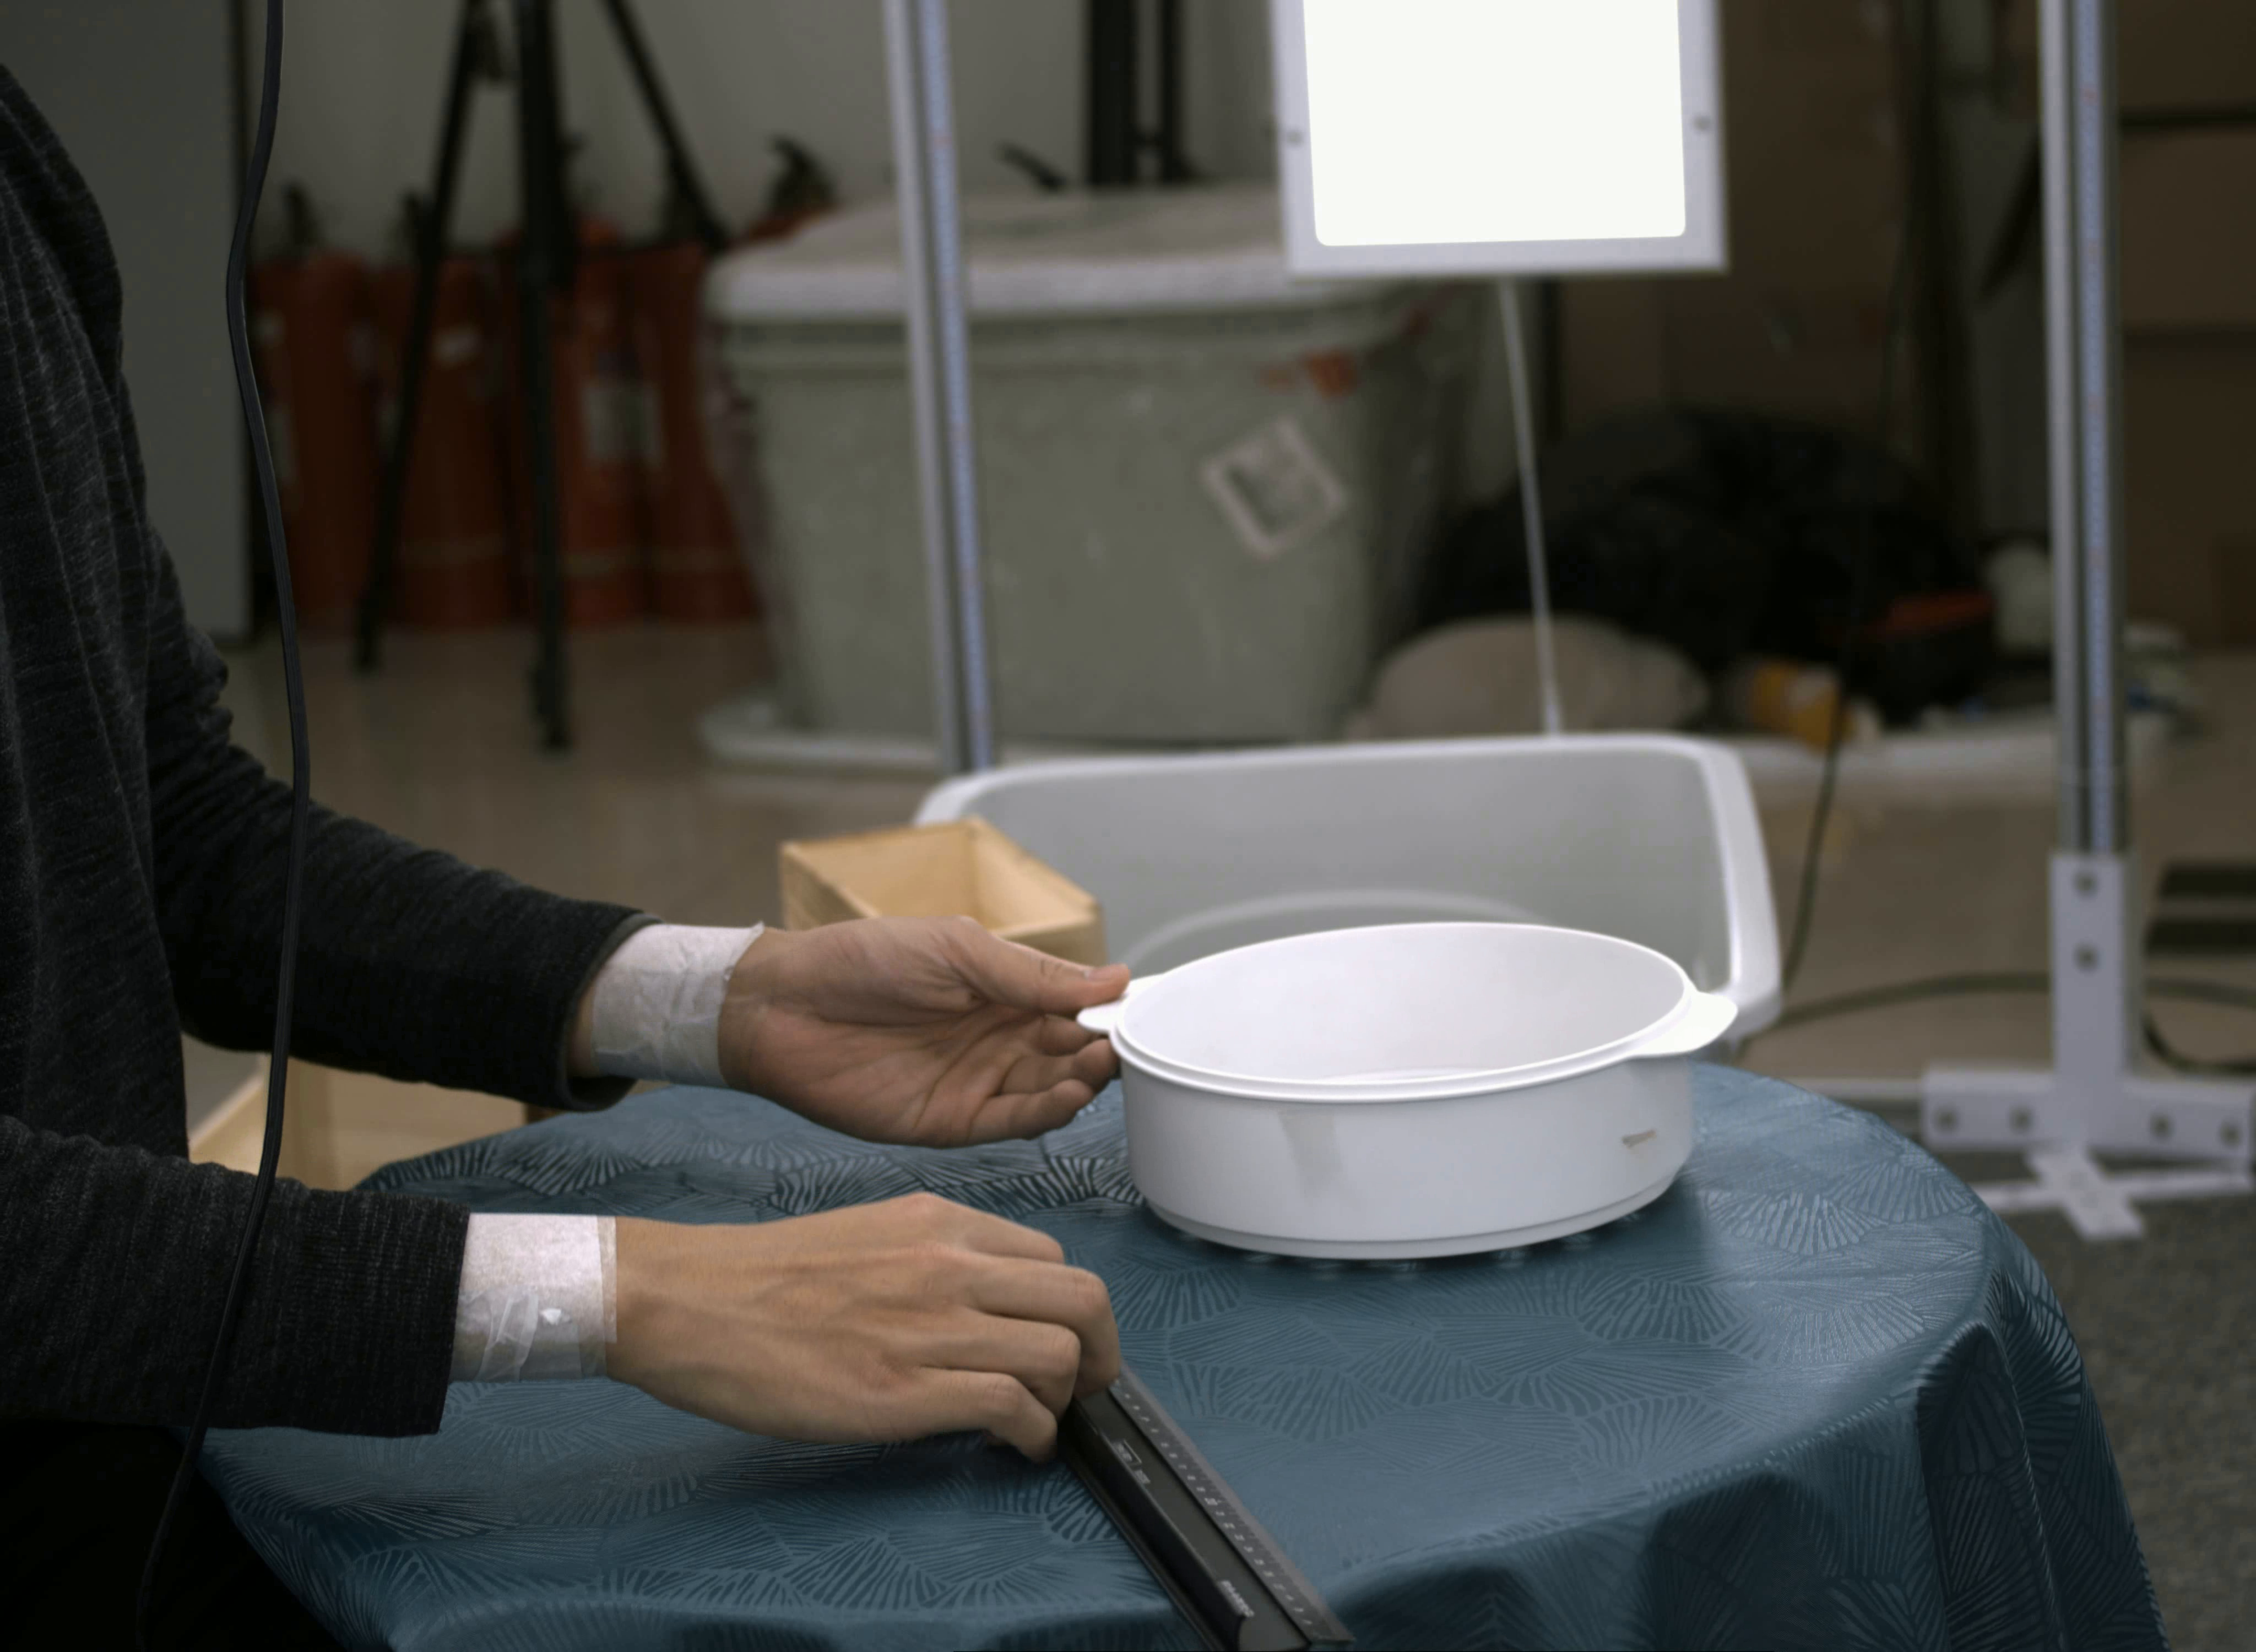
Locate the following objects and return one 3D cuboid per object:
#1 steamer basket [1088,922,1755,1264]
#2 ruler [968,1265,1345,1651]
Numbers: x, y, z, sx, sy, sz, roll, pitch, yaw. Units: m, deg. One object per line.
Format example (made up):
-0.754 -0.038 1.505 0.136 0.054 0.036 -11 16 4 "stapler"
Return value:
0.099 0.090 1.866 0.234 0.069 0.198 3 16 24 "steamer basket"
0.004 0.181 1.628 0.039 0.017 0.315 -8 15 -13 "ruler"
